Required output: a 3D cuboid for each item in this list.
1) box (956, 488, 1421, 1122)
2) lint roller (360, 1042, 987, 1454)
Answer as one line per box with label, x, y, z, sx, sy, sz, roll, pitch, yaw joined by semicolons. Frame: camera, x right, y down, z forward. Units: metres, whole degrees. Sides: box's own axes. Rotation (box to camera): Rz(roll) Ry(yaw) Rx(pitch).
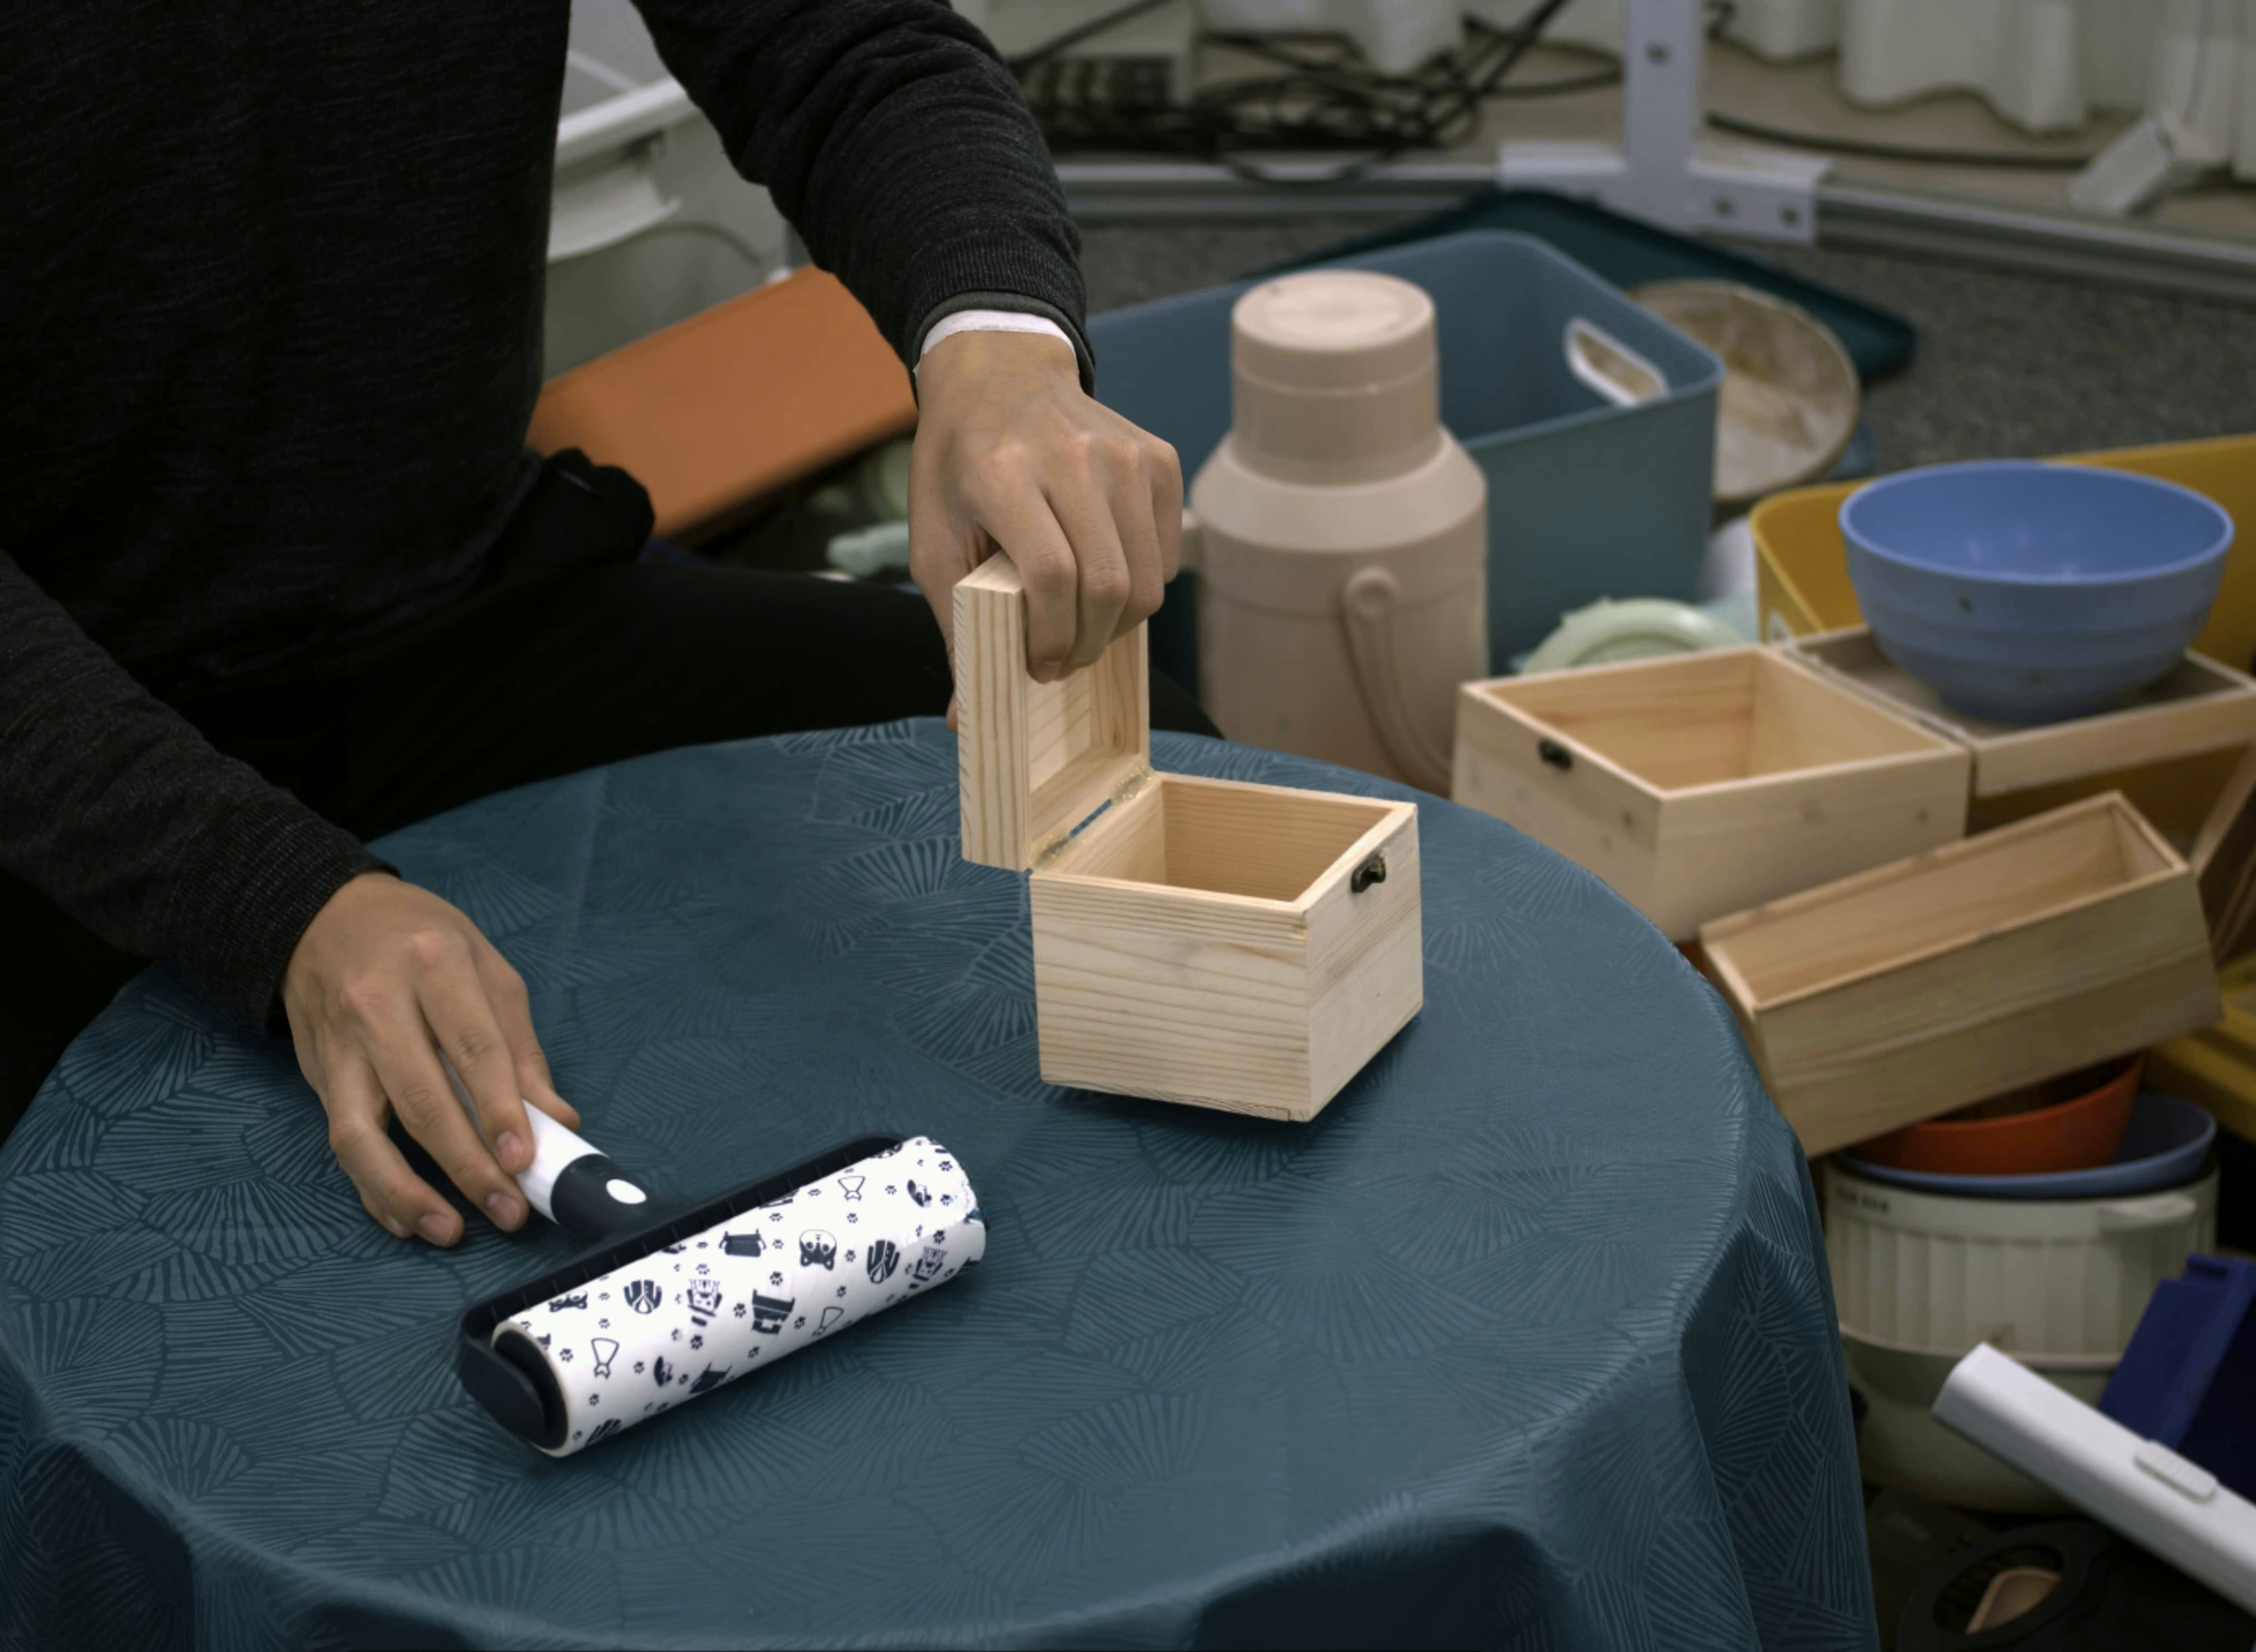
box;0.024;-0.010;1.905;0.133;0.183;0.104;6;21;24
lint roller;-0.185;0.116;1.845;0.178;0.050;0.247;-23;33;-32
